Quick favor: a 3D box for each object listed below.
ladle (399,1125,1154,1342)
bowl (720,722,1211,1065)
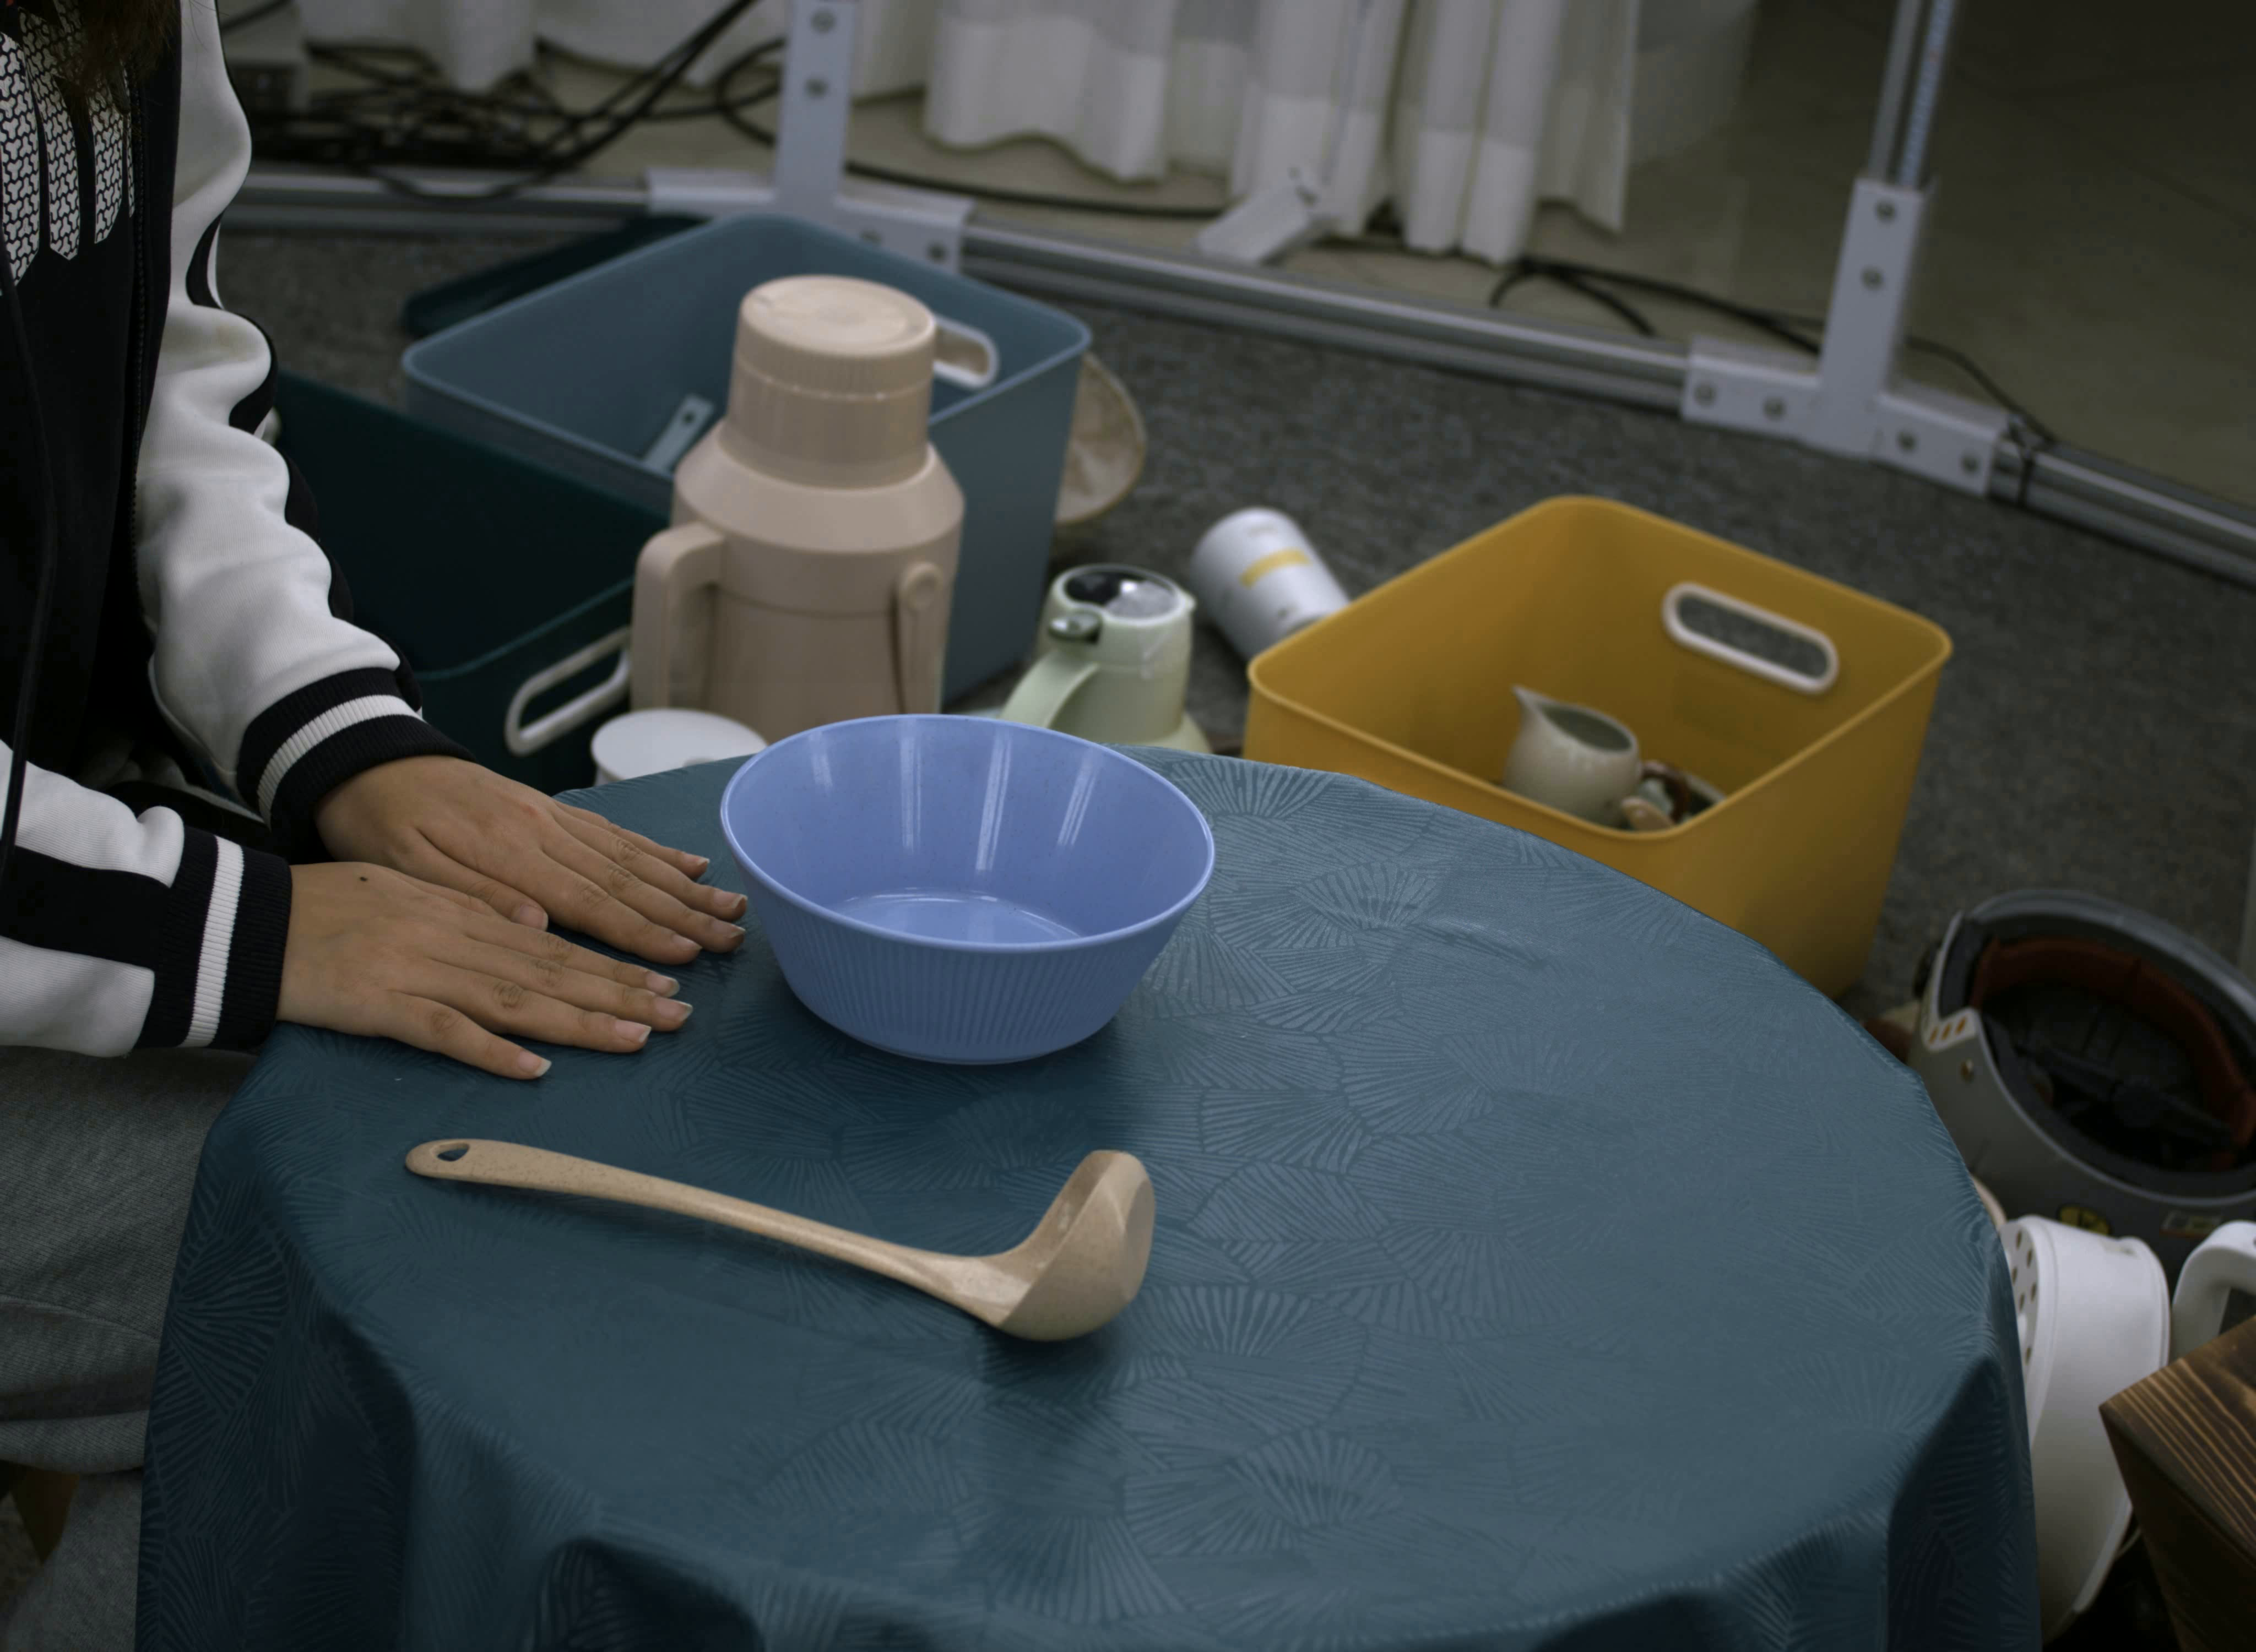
[{"bbox_3d":[-0.117,0.111,1.721,0.254,0.072,0.072,11,40,10],"label":"ladle"},{"bbox_3d":[-0.061,0.029,1.896,0.175,0.070,0.177,6,26,-3],"label":"bowl"}]
